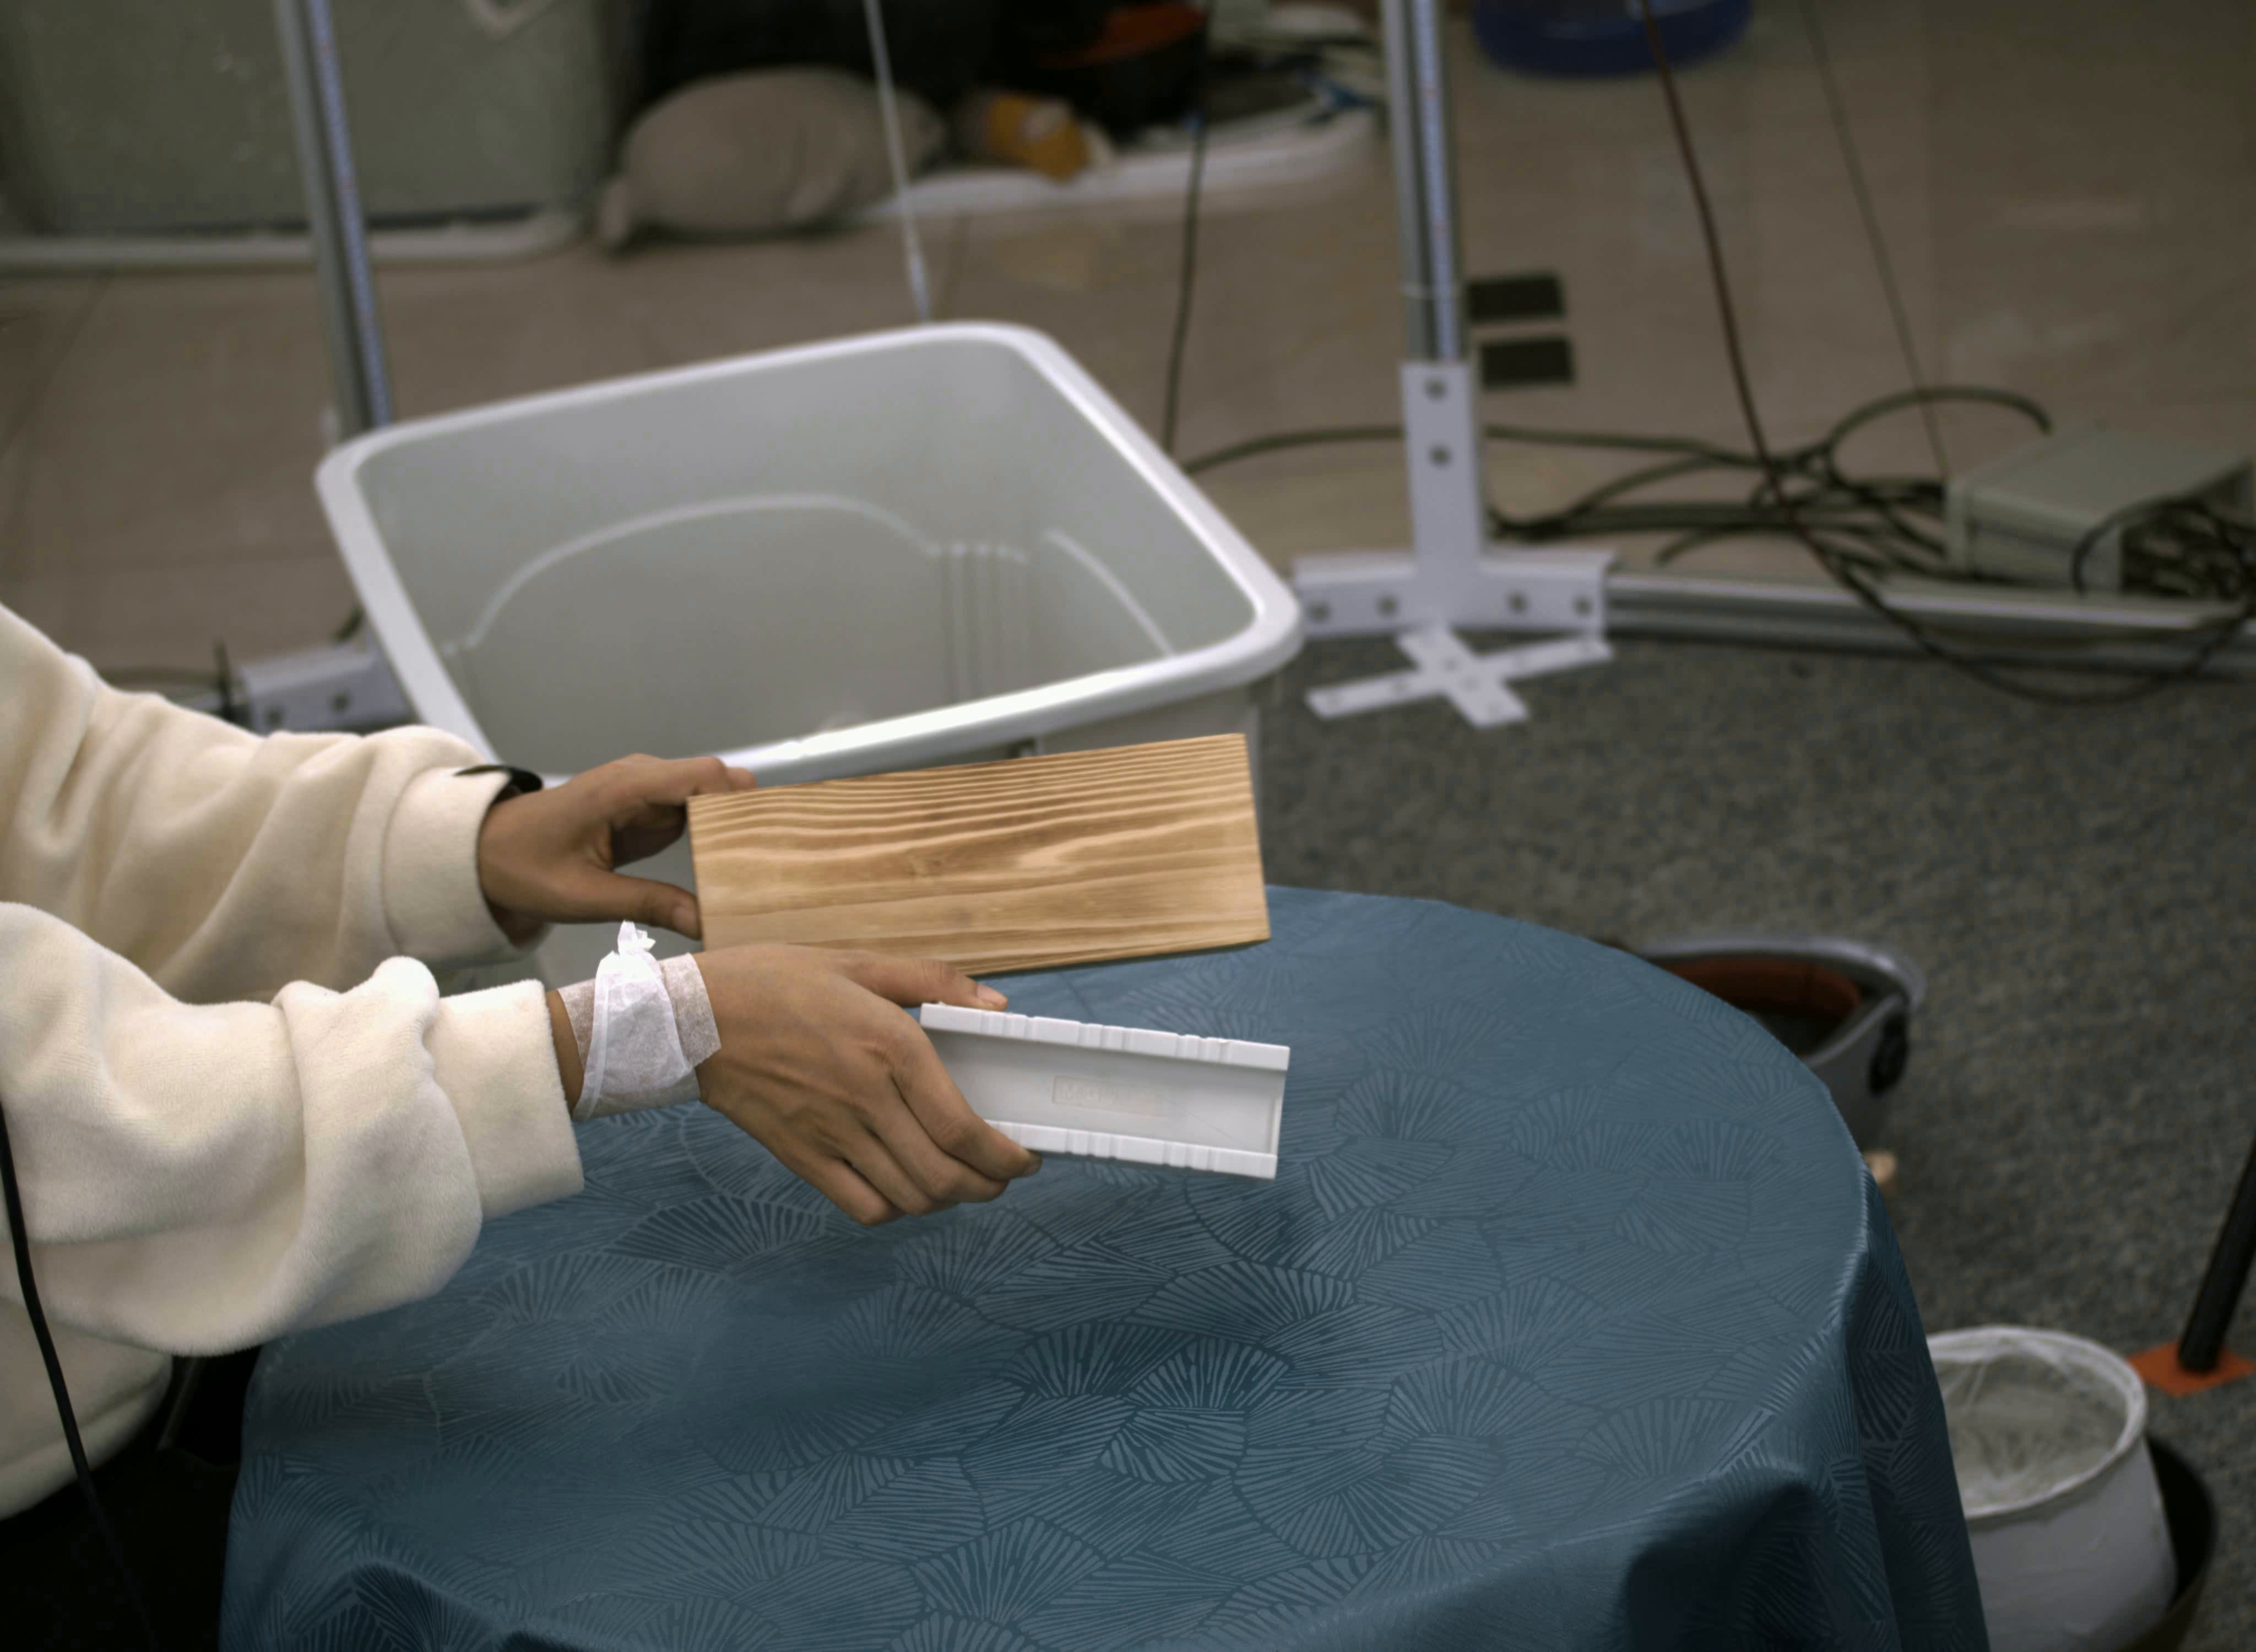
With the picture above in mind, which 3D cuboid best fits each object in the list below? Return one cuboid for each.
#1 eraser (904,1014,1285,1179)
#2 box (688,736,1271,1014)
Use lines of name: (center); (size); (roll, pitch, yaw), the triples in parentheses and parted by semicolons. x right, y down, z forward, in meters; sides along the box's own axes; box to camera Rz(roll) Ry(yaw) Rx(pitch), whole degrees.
eraser: (-0.012, 0.098, 2.045); (0.134, 0.049, 0.046); (4, -5, -3)
box: (-0.059, 0.020, 2.158); (0.211, 0.080, 0.107); (-6, -2, -6)
